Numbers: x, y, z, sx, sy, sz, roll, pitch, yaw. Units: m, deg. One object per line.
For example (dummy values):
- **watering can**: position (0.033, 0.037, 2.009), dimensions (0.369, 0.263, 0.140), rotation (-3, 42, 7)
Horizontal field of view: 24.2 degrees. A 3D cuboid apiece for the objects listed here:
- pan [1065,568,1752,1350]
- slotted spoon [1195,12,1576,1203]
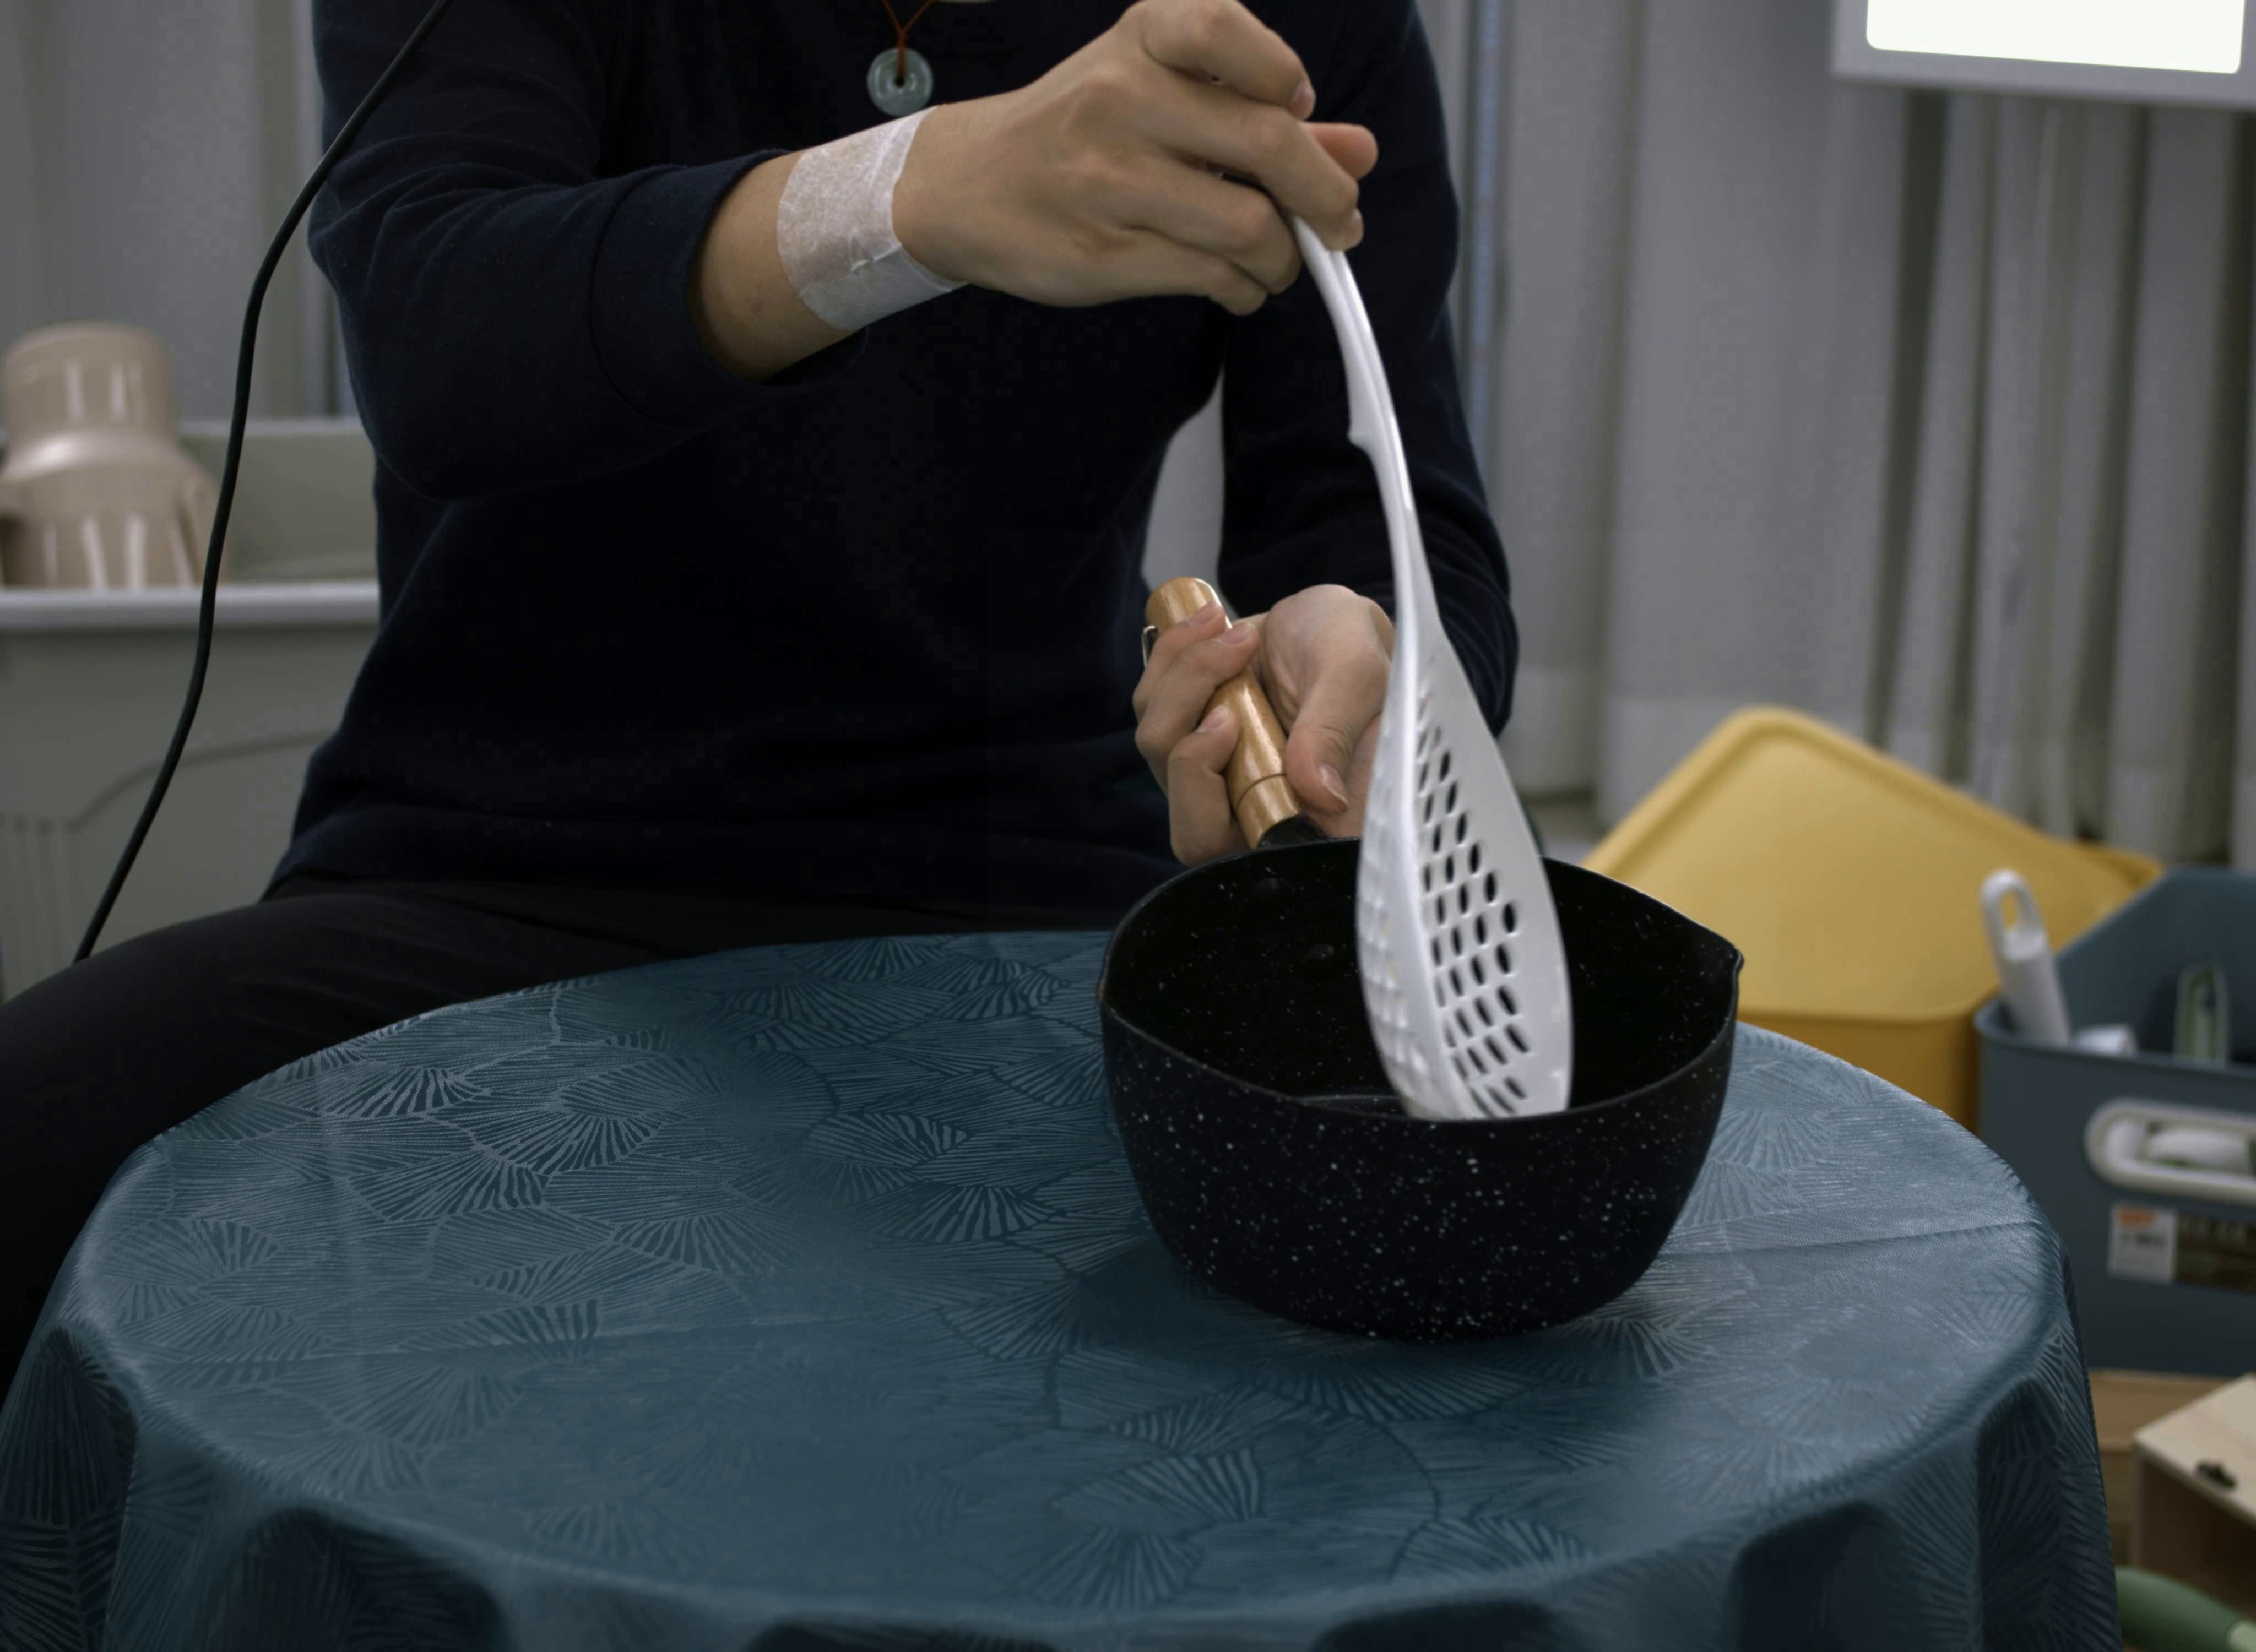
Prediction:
- **pan**: position (0.061, 0.036, 1.607), dimensions (0.208, 0.109, 0.338), rotation (-6, 28, -17)
- **slotted spoon**: position (0.071, -0.059, 1.474), dimensions (0.050, 0.351, 0.136), rotation (-3, 19, 19)
